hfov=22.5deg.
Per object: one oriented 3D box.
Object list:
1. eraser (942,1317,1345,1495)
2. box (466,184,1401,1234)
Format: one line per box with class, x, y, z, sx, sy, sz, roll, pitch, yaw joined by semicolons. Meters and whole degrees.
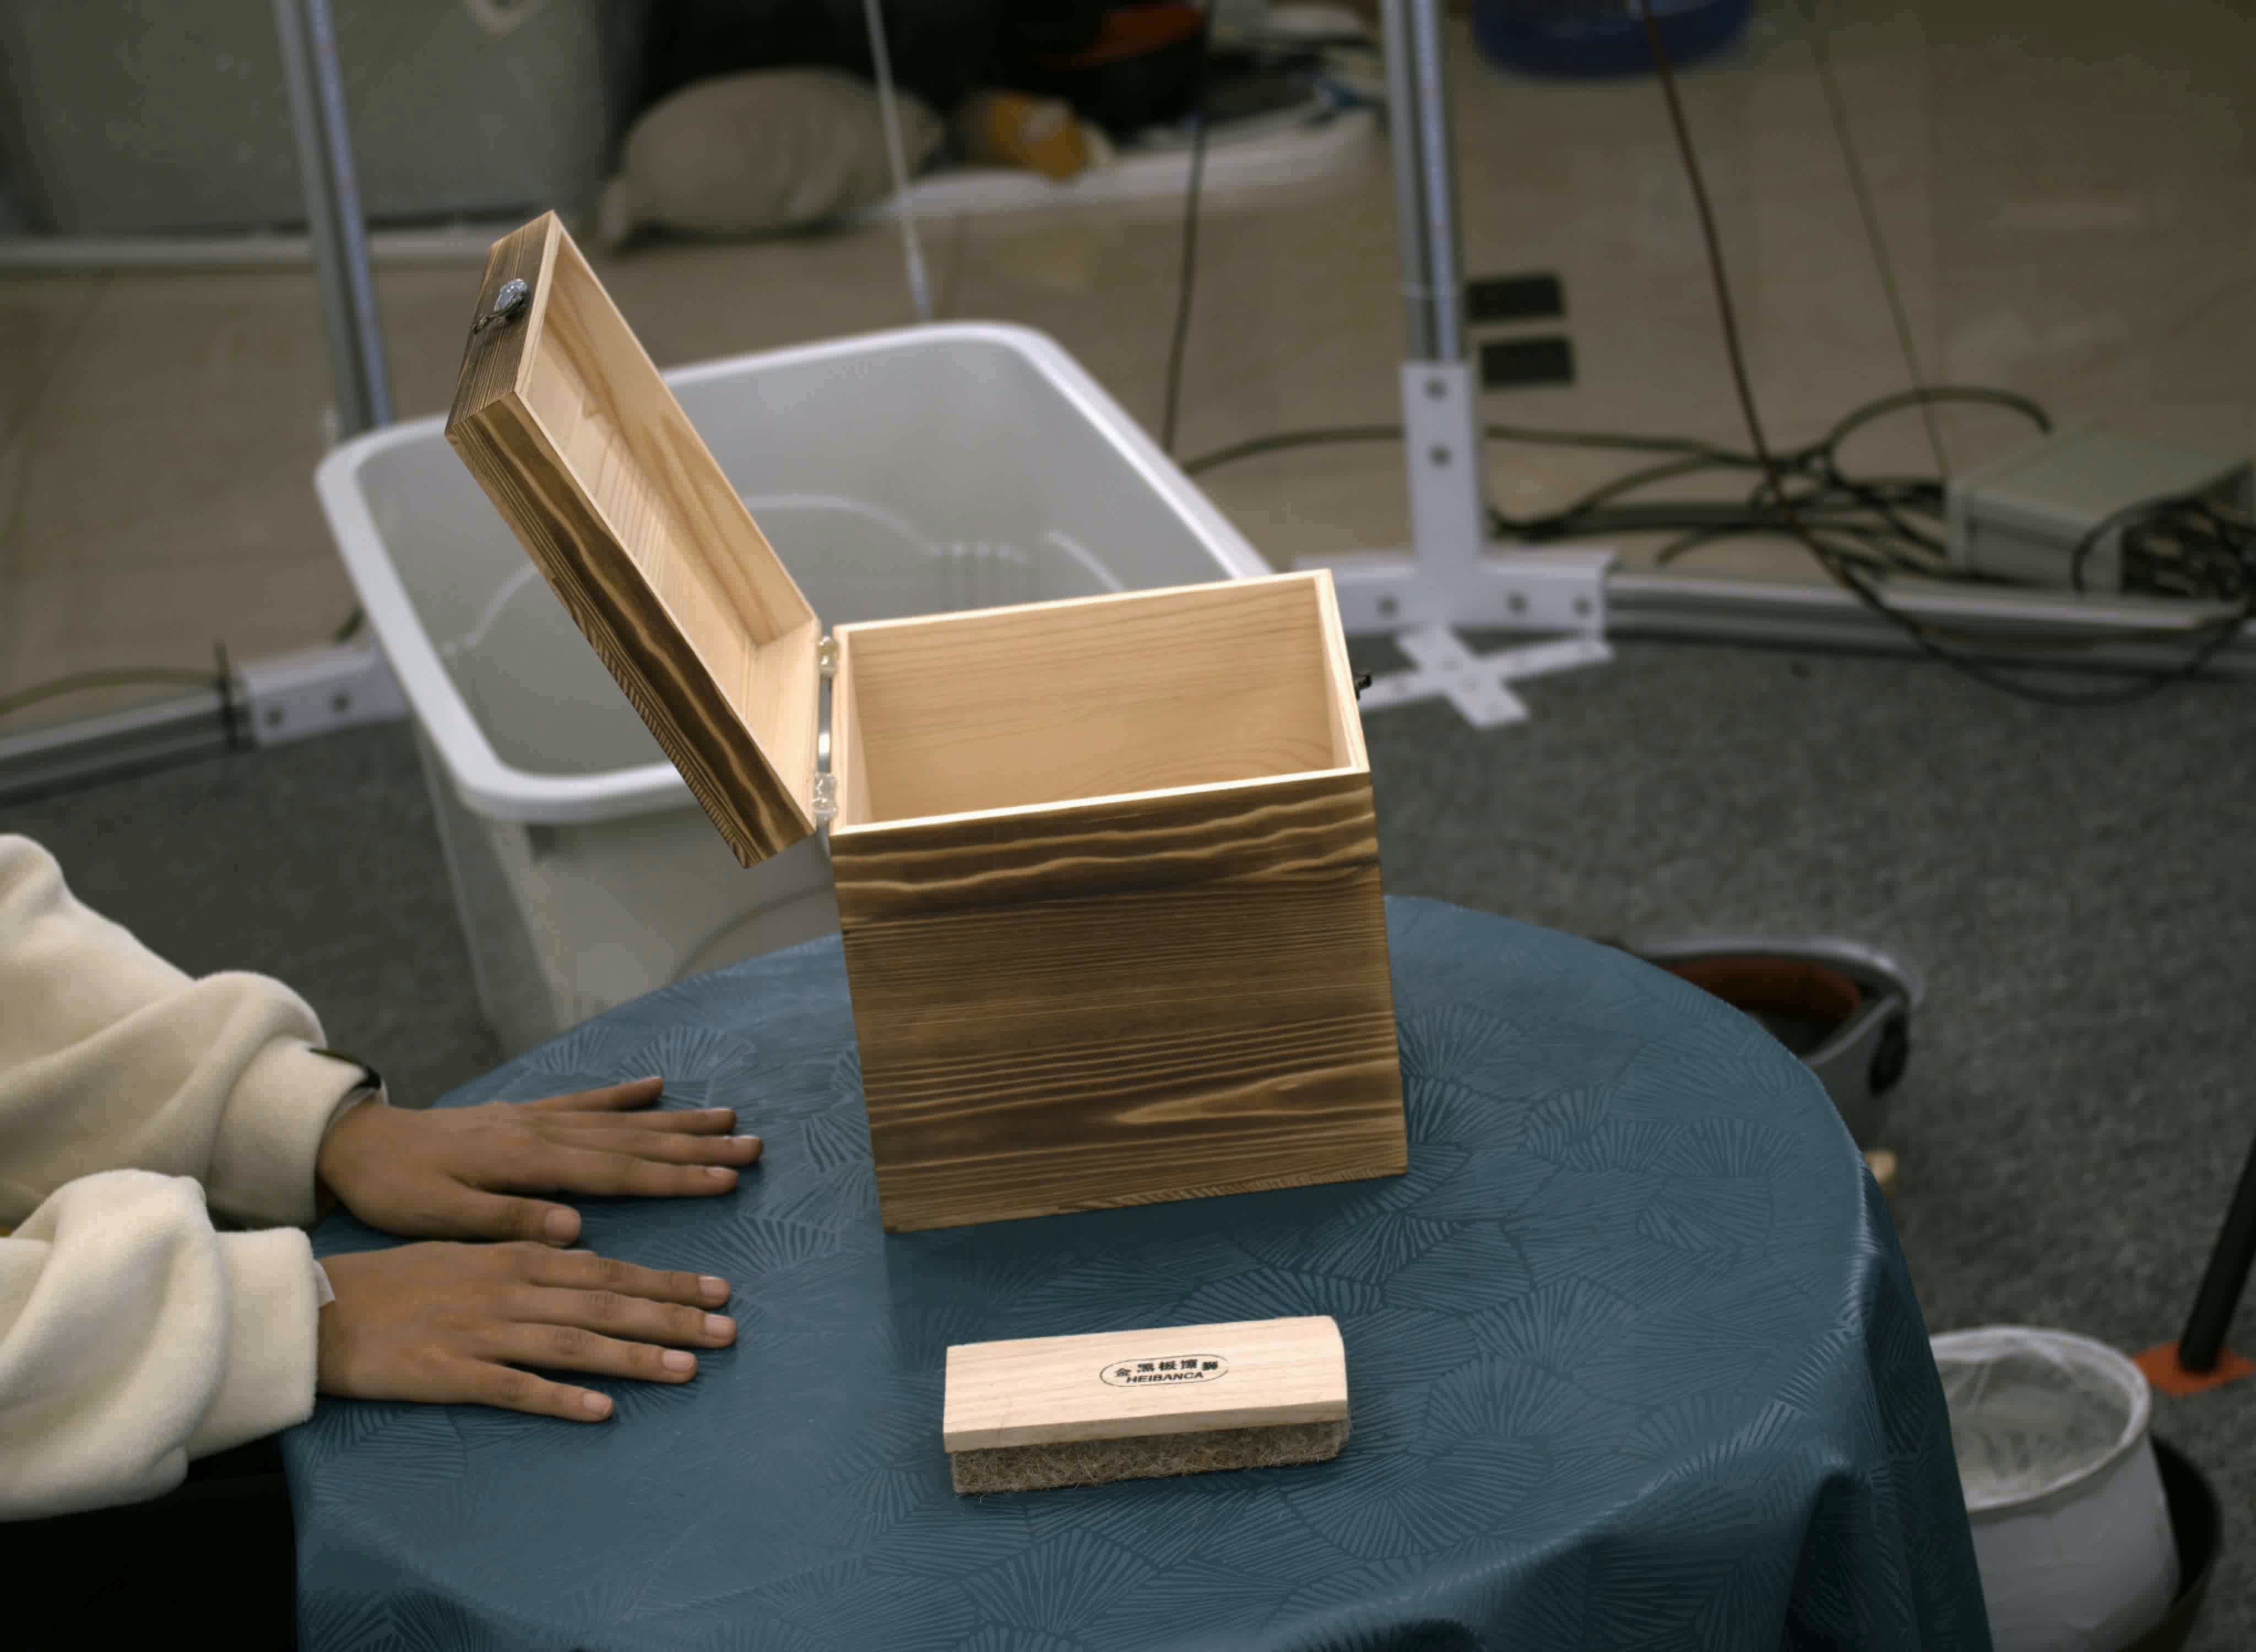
eraser;0.007;0.202;1.978;0.139;0.029;0.056;-5;29;4
box;-0.066;-0.055;2.143;0.321;0.381;0.205;-6;27;0
